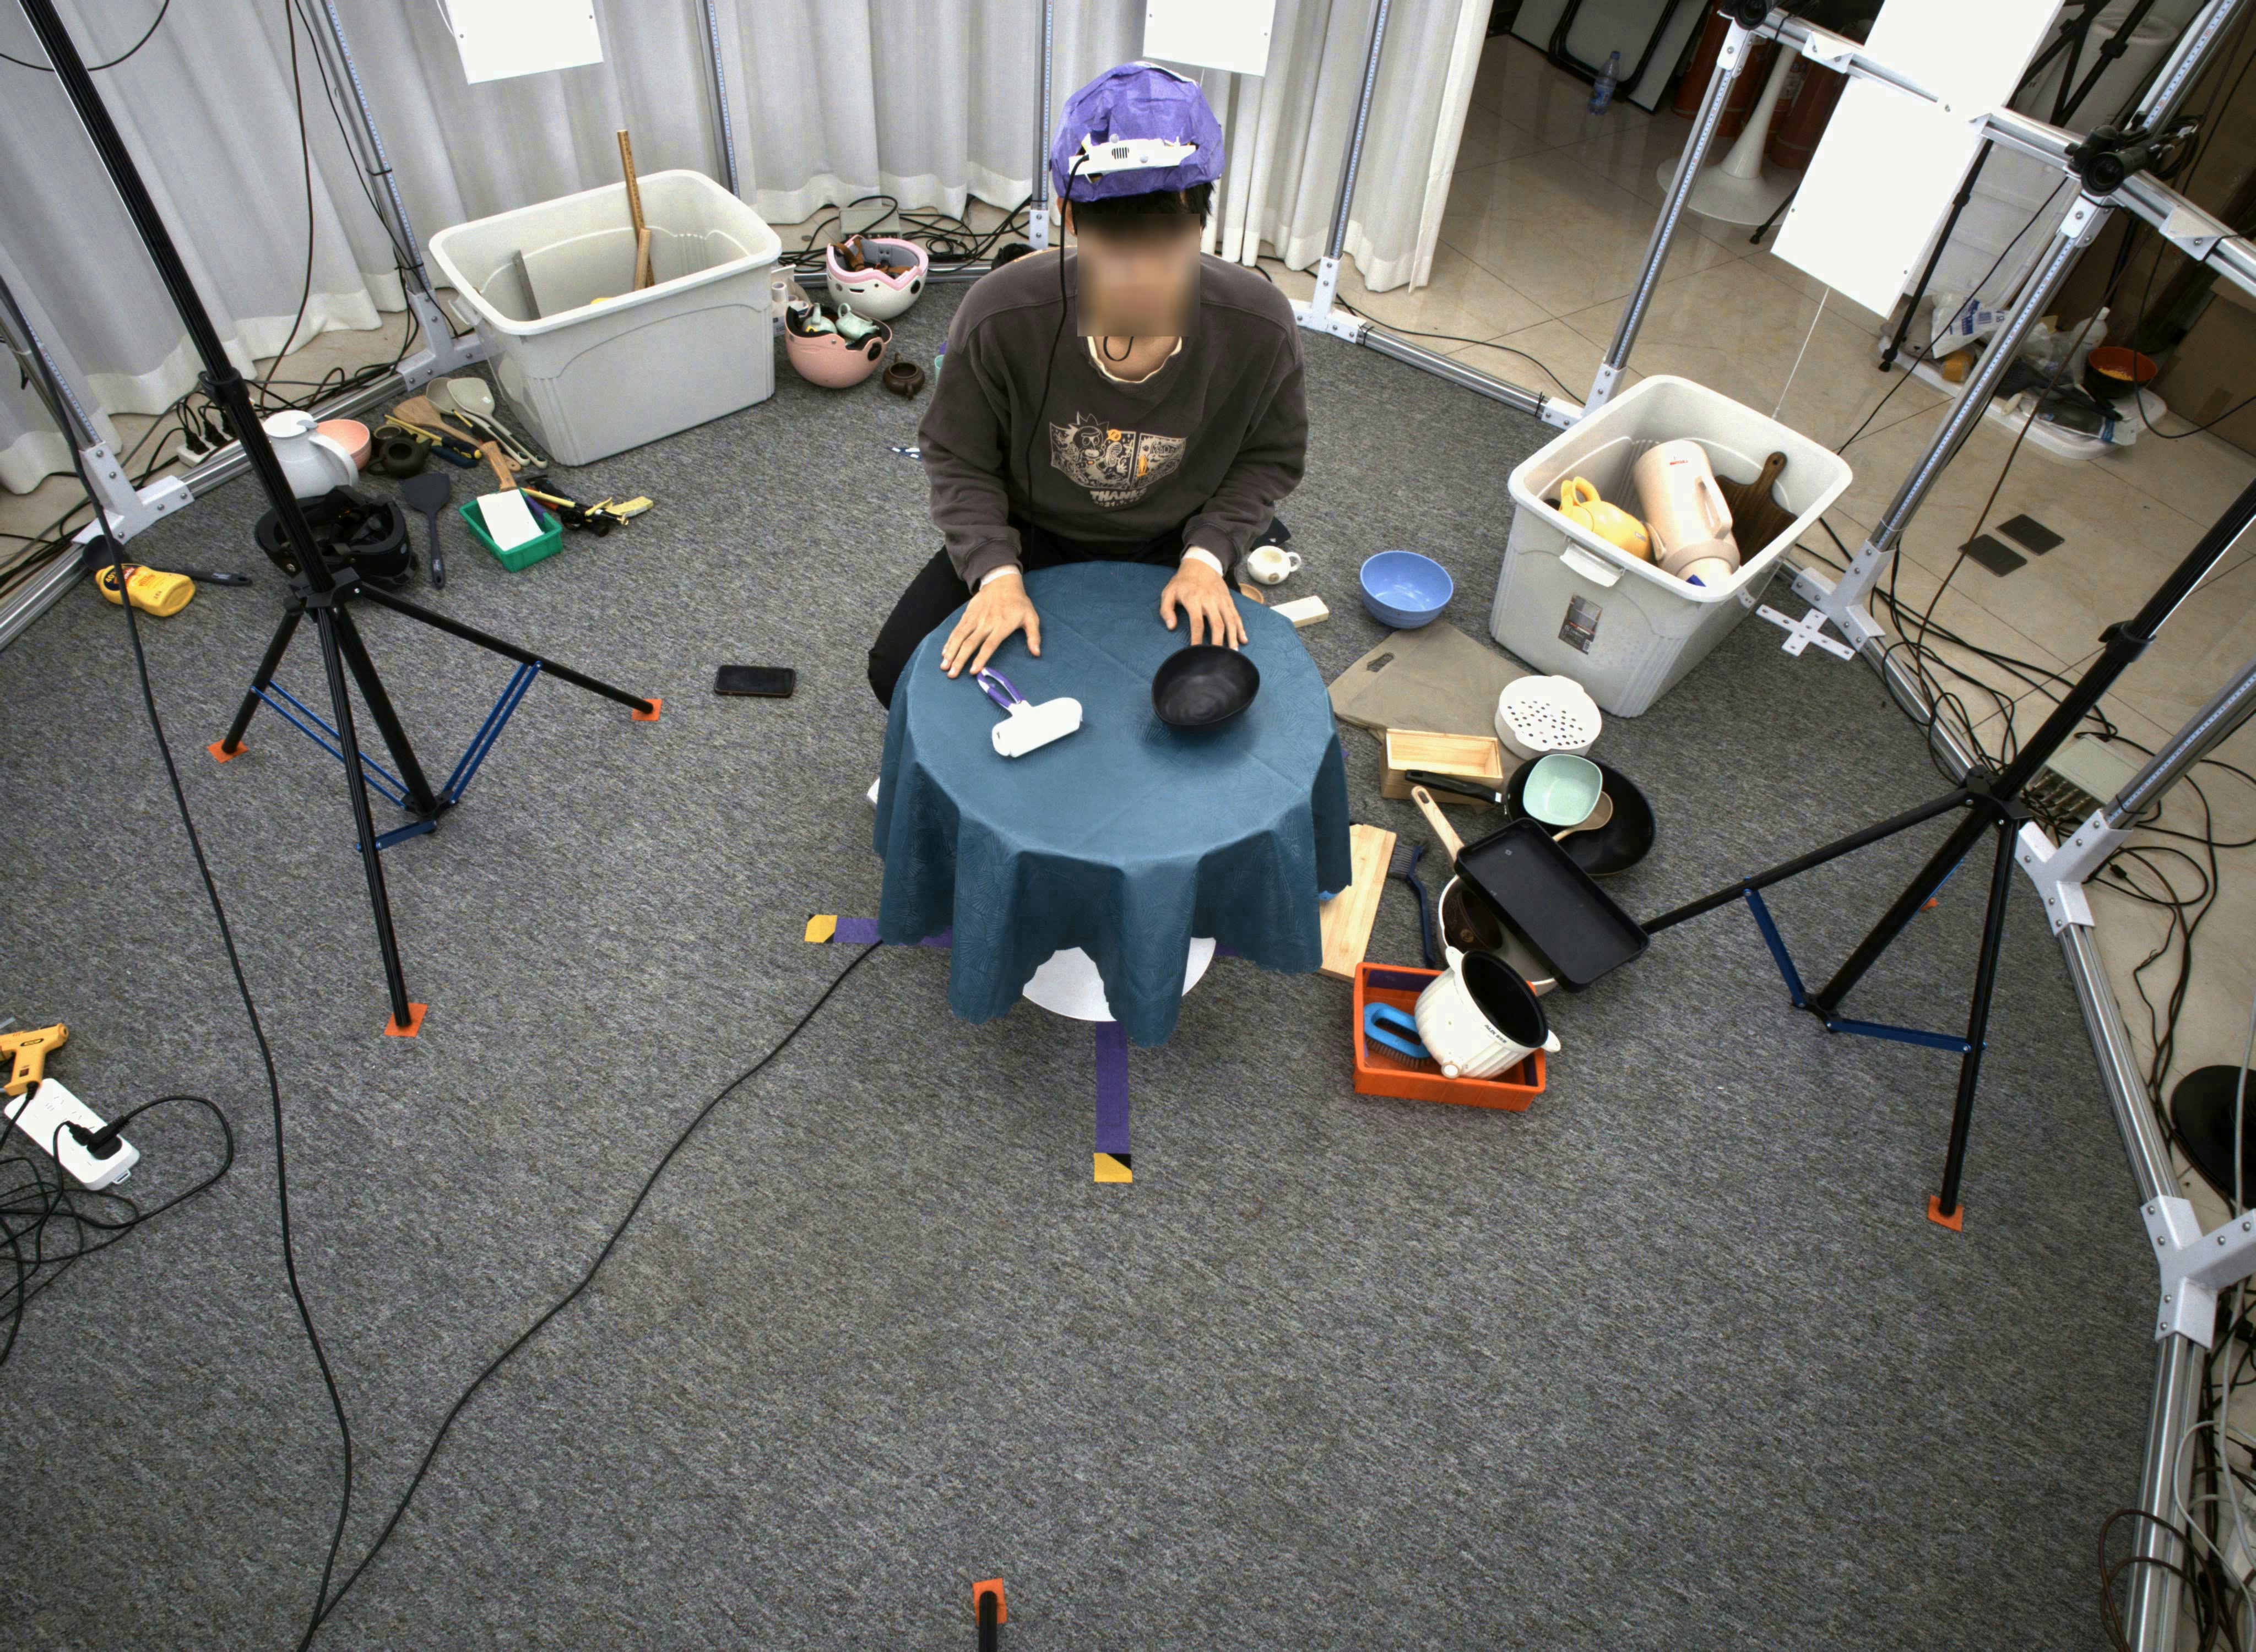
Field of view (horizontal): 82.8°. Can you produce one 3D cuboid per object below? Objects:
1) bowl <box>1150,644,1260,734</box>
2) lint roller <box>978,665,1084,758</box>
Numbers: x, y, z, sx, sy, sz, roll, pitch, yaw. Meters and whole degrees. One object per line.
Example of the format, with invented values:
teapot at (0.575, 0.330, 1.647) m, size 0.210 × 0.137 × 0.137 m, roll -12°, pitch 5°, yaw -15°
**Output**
bowl at (0.106, -0.179, 1.787) m, size 0.139 × 0.065 × 0.172 m, roll 34°, pitch 57°, yaw 25°
lint roller at (-0.154, -0.178, 1.780) m, size 0.133 × 0.049 × 0.184 m, roll -24°, pitch 57°, yaw -22°
